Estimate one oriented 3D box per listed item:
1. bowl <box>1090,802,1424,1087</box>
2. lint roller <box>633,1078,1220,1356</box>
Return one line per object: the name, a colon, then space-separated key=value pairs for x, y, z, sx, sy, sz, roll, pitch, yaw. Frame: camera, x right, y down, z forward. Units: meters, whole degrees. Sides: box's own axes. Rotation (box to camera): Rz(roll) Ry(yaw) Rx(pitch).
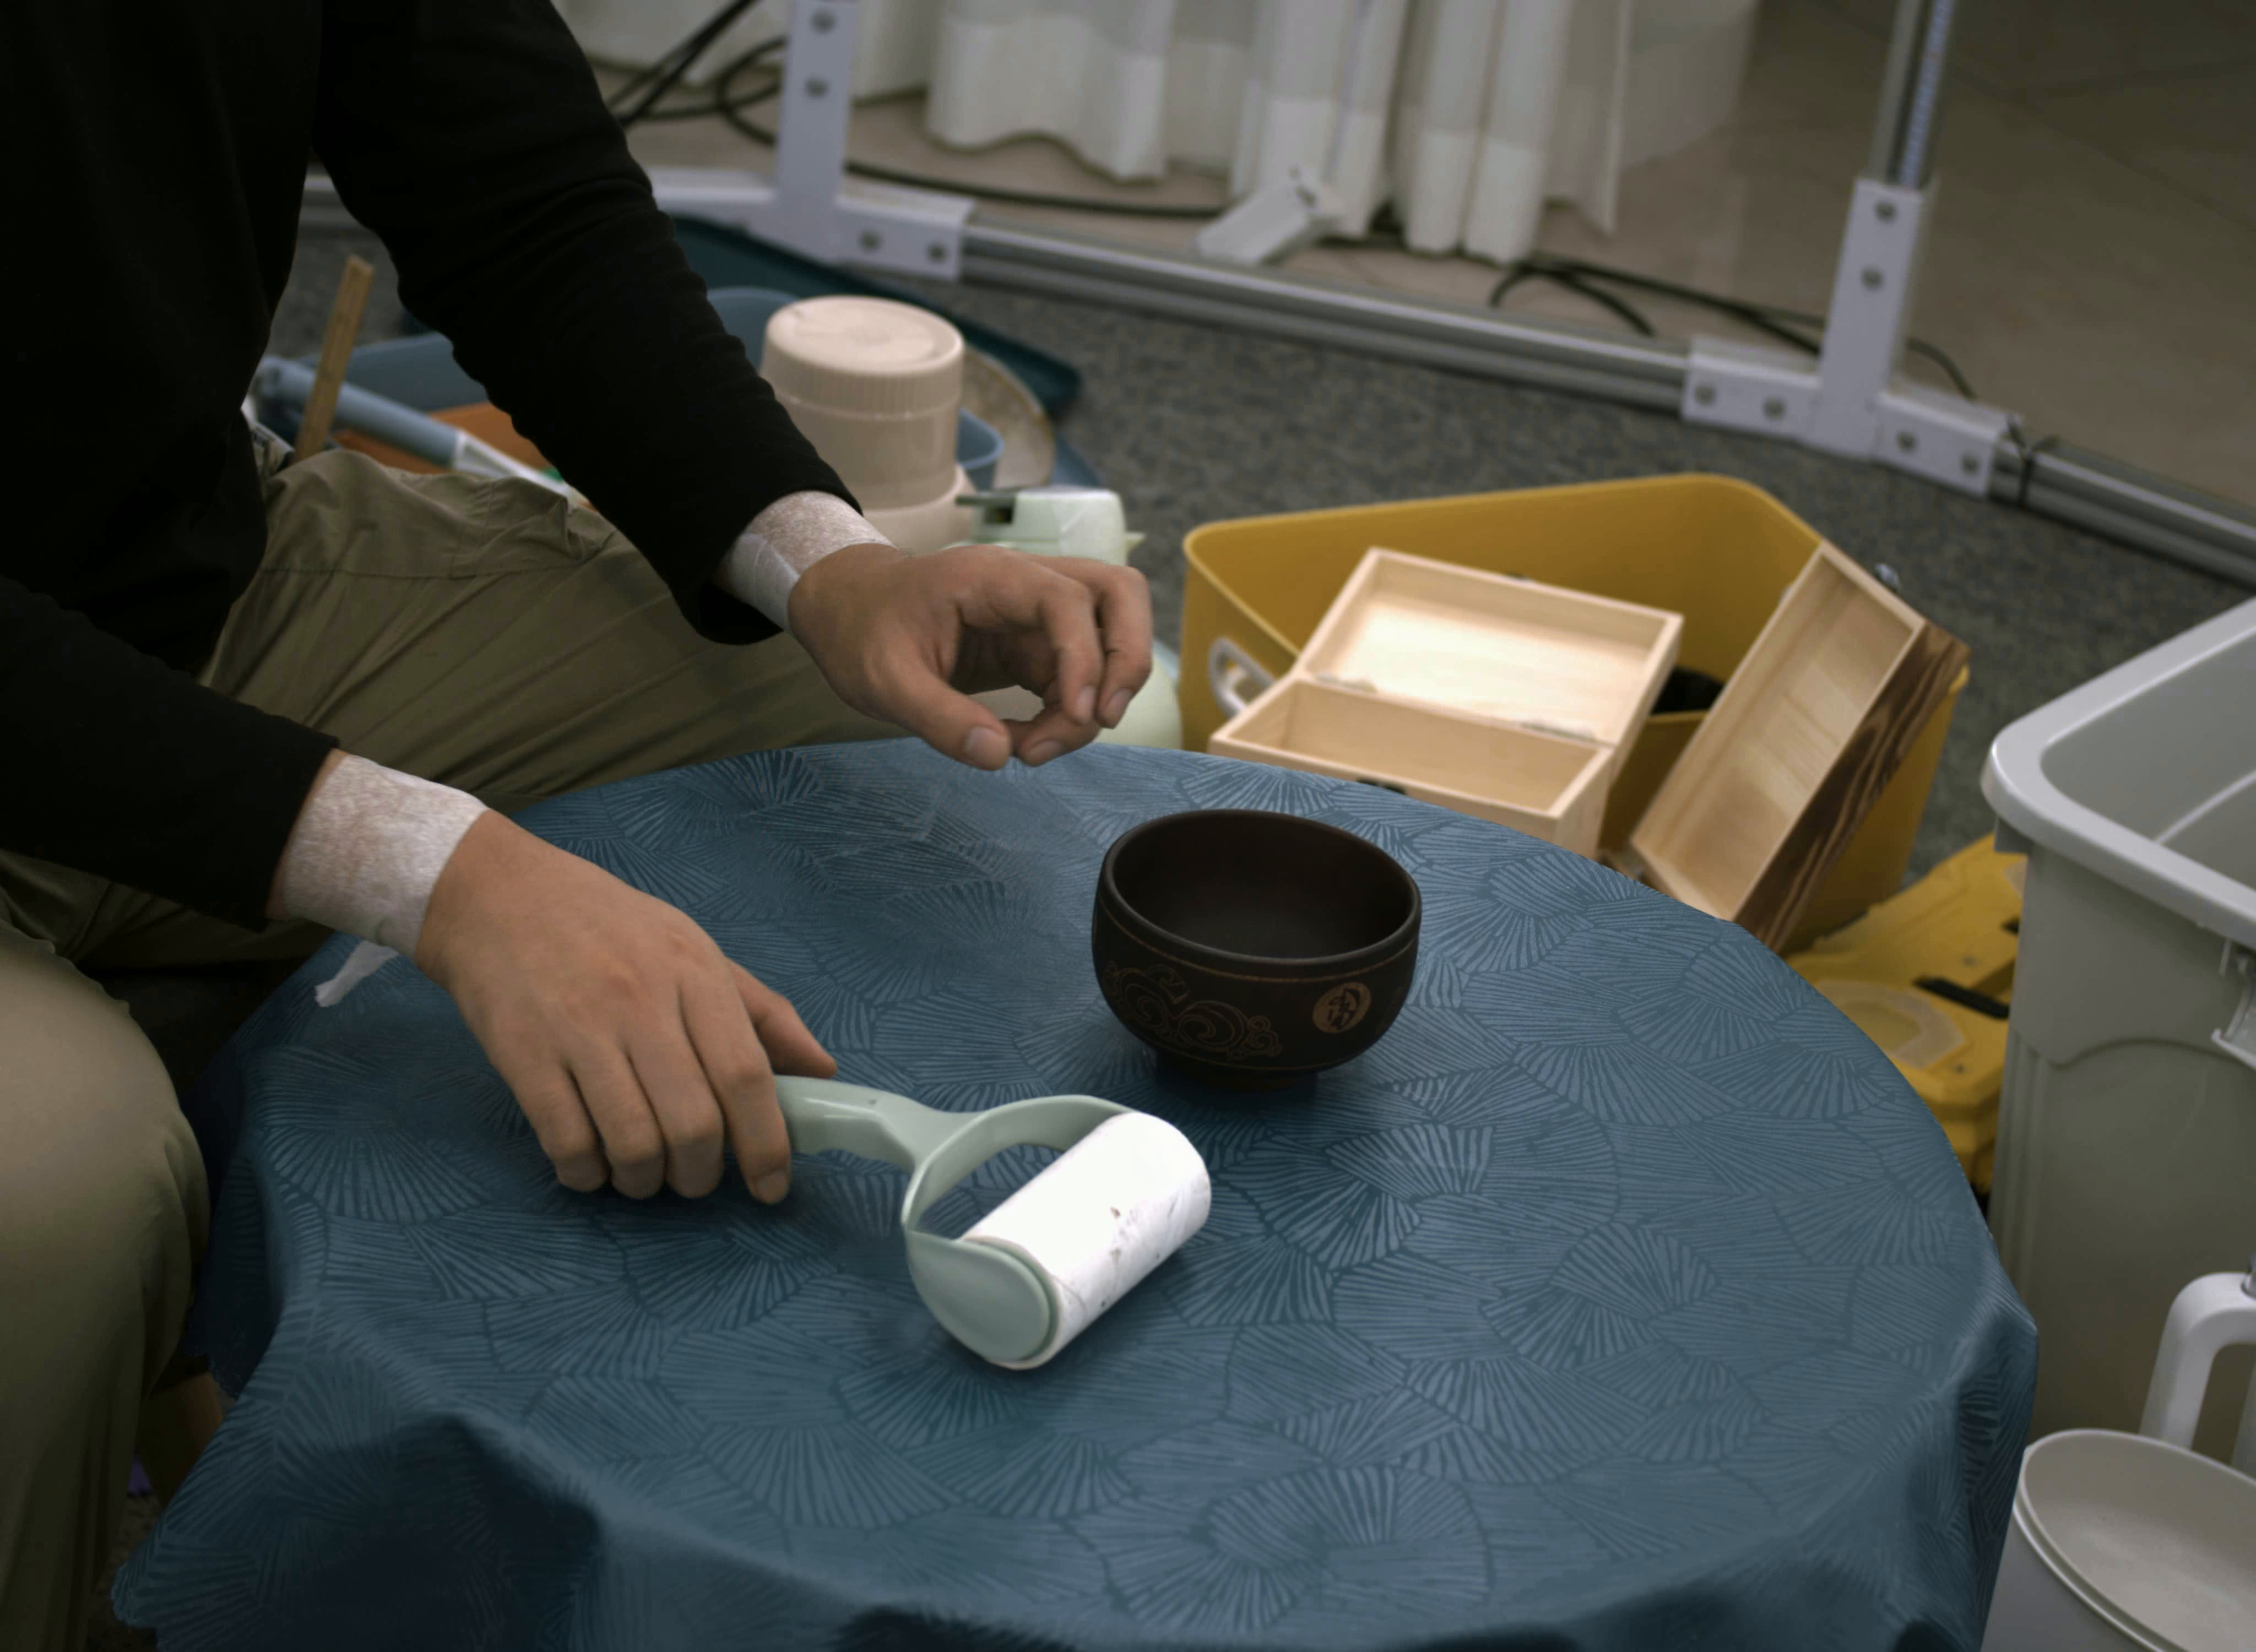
bowl: x=0.044 y=0.048 z=1.880 sx=0.117 sy=0.069 sz=0.119 roll=4 pitch=27 yaw=-2
lint roller: x=-0.076 y=0.110 z=1.762 sx=0.198 sy=0.048 sz=0.116 roll=18 pitch=30 yaw=24
